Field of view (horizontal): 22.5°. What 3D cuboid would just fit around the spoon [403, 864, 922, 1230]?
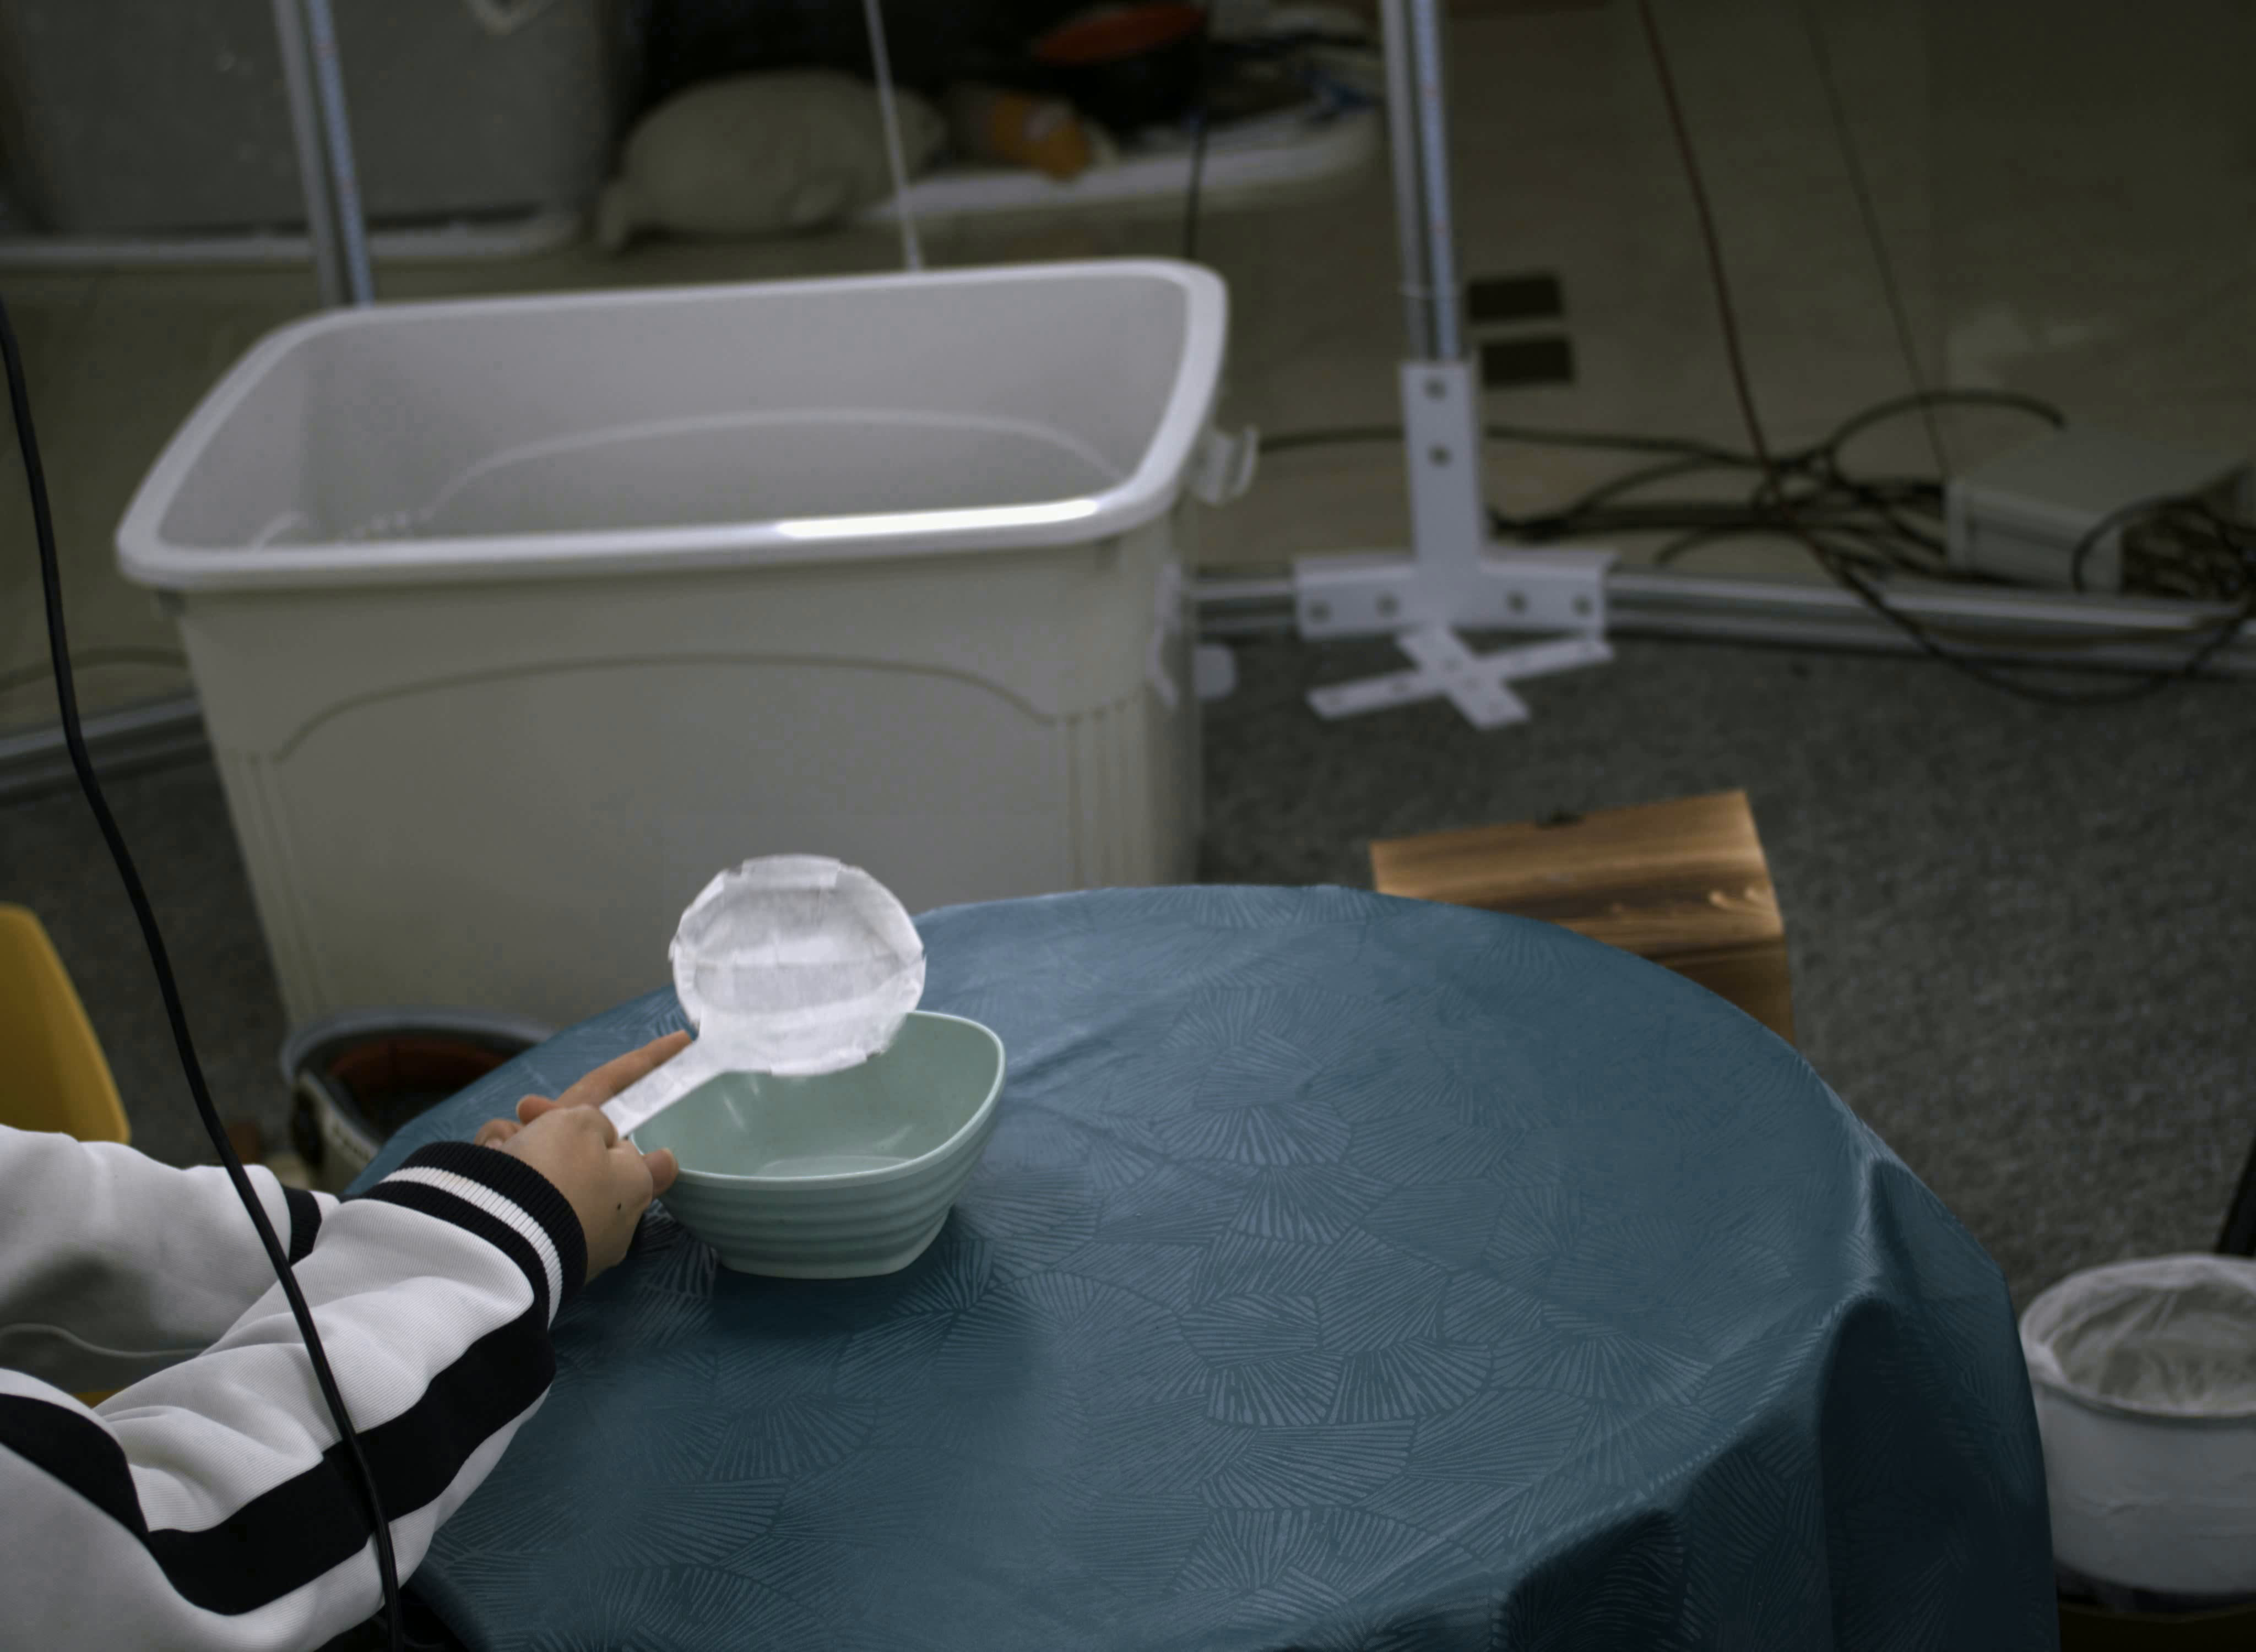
[{"bbox_3d":[-0.172,0.076,2.013,0.100,0.060,0.275,32,26,18],"label":"spoon"}]

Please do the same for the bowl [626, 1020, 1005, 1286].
[{"bbox_3d":[-0.114,0.128,2.137,0.151,0.059,0.149,-5,25,3],"label":"bowl"}]
